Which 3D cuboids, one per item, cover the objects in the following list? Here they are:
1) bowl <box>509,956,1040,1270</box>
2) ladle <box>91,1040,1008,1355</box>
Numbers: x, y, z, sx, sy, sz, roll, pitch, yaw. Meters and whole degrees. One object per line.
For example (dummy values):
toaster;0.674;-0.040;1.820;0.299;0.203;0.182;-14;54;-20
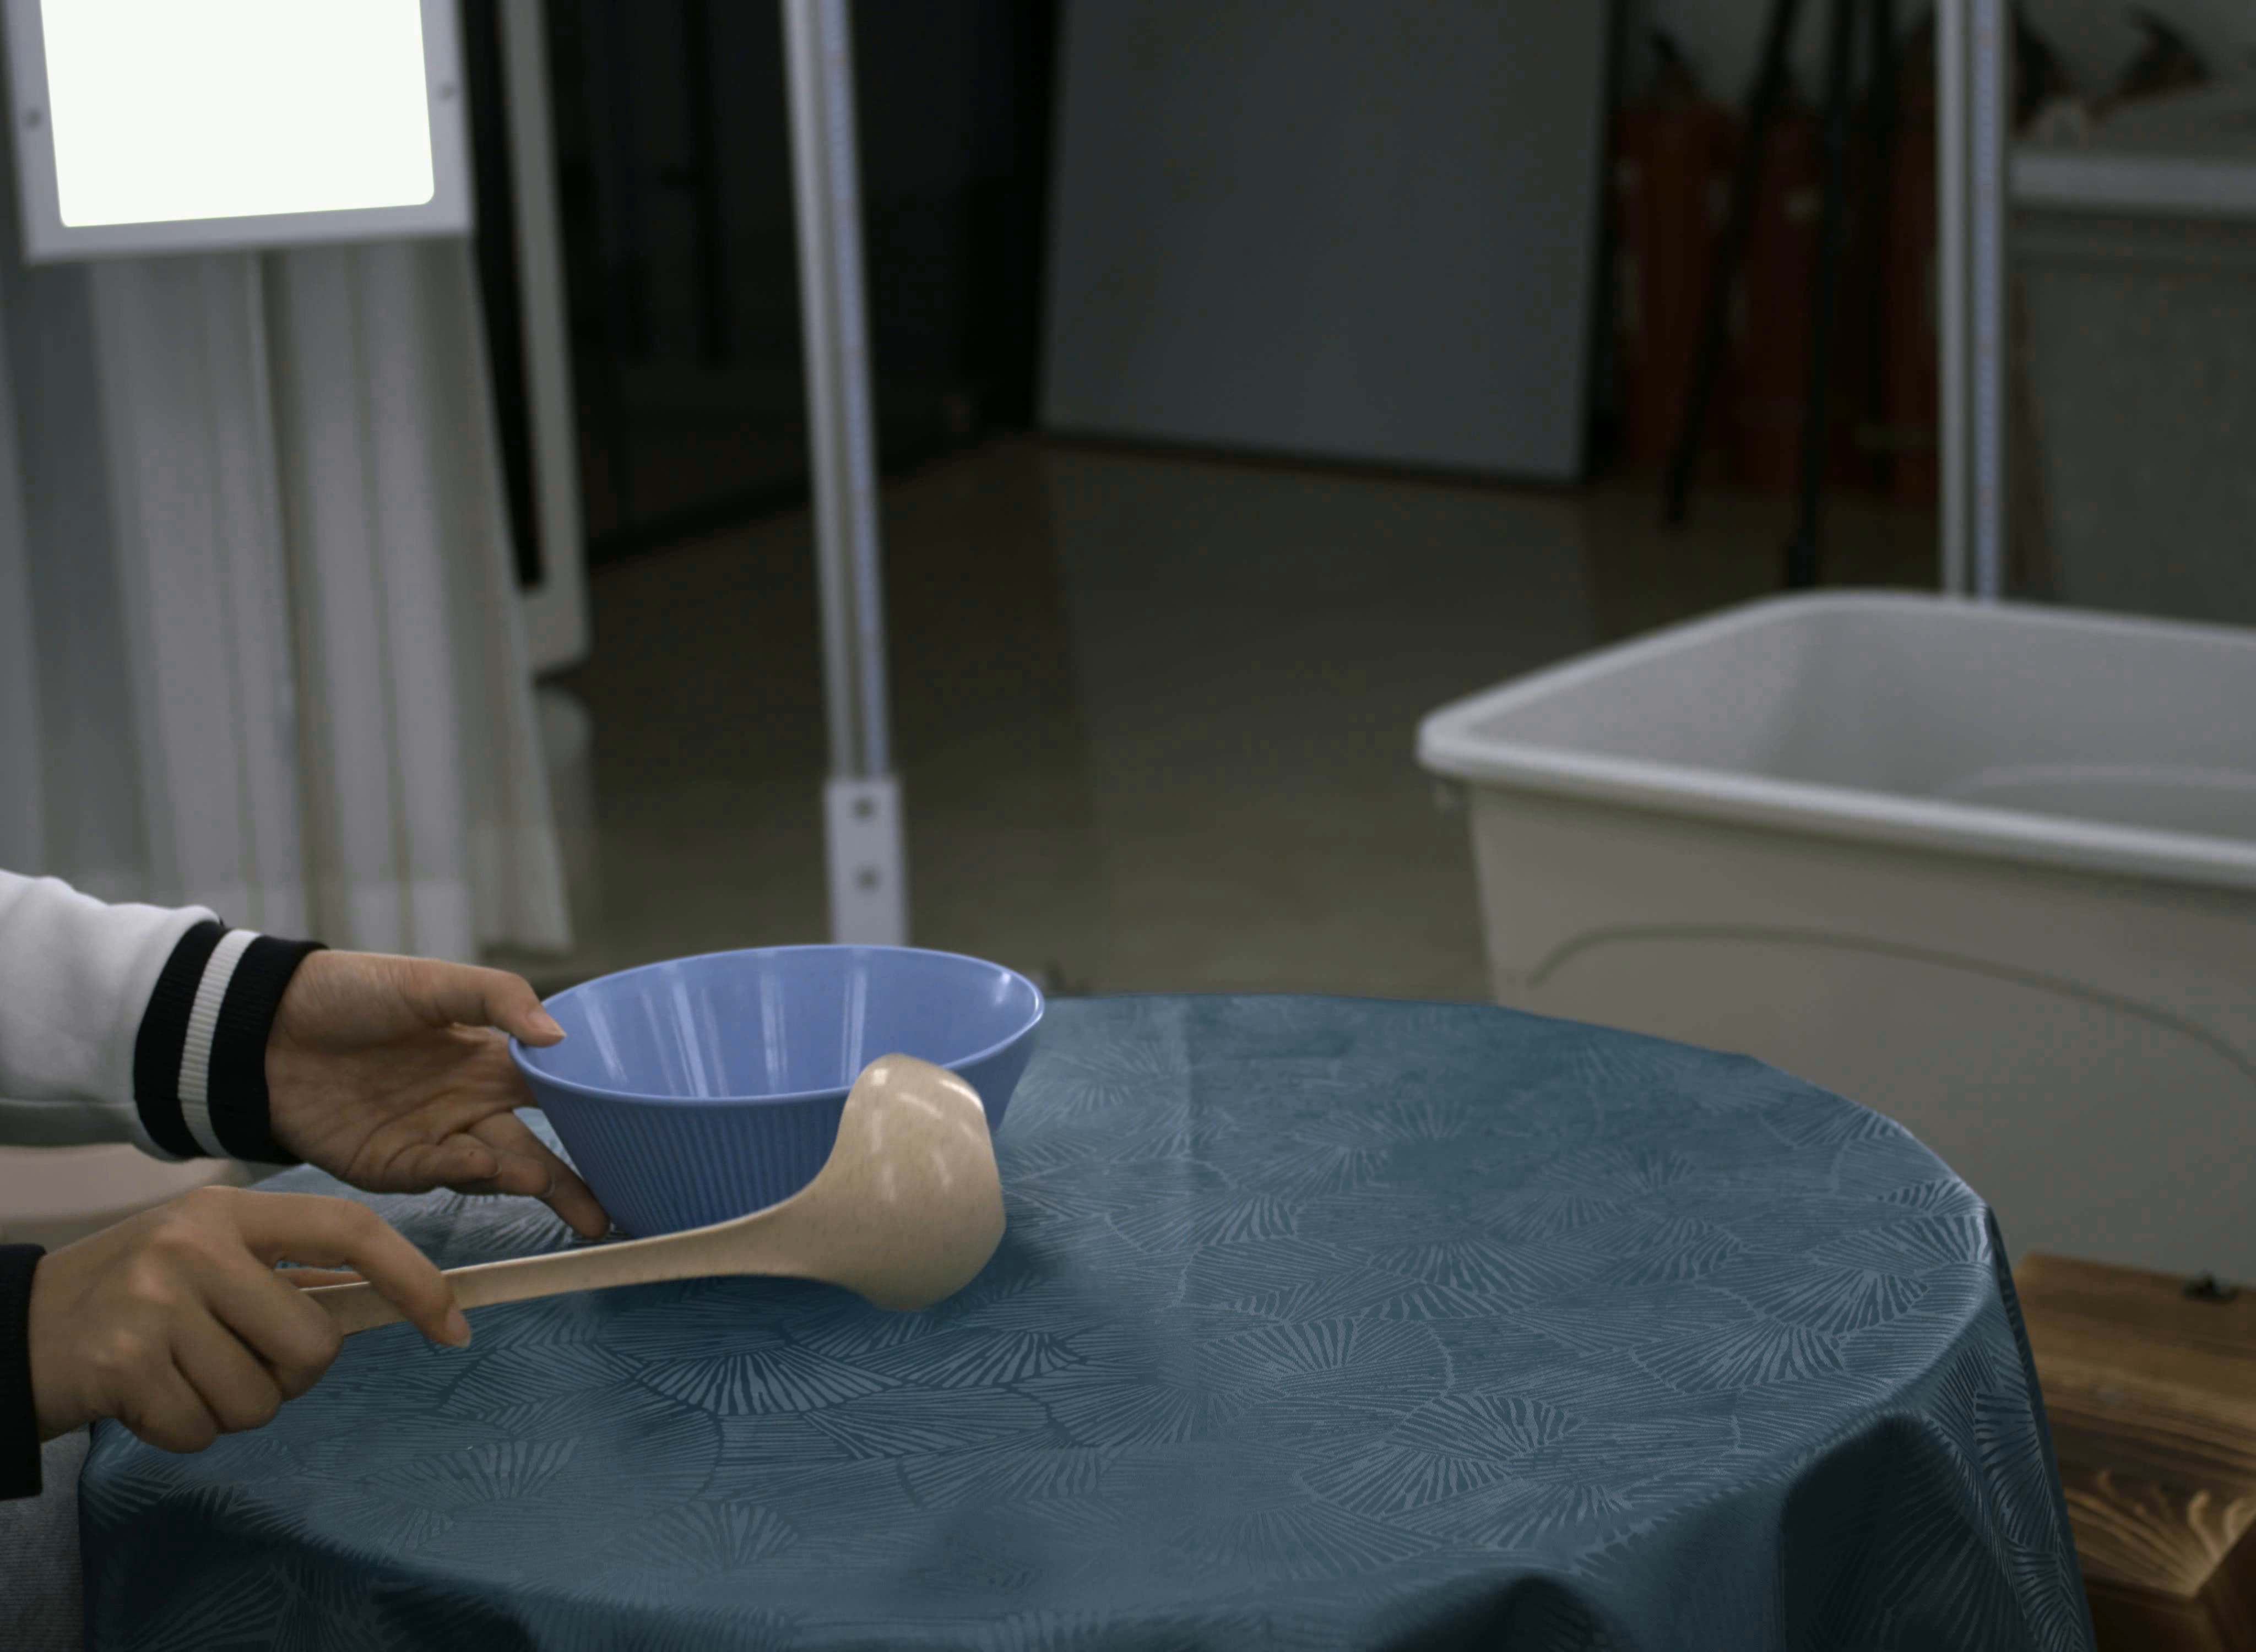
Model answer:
bowl;-0.112;0.095;1.761;0.174;0.071;0.176;-4;13;0
ladle;-0.159;0.111;1.509;0.251;0.073;0.073;-9;13;2
